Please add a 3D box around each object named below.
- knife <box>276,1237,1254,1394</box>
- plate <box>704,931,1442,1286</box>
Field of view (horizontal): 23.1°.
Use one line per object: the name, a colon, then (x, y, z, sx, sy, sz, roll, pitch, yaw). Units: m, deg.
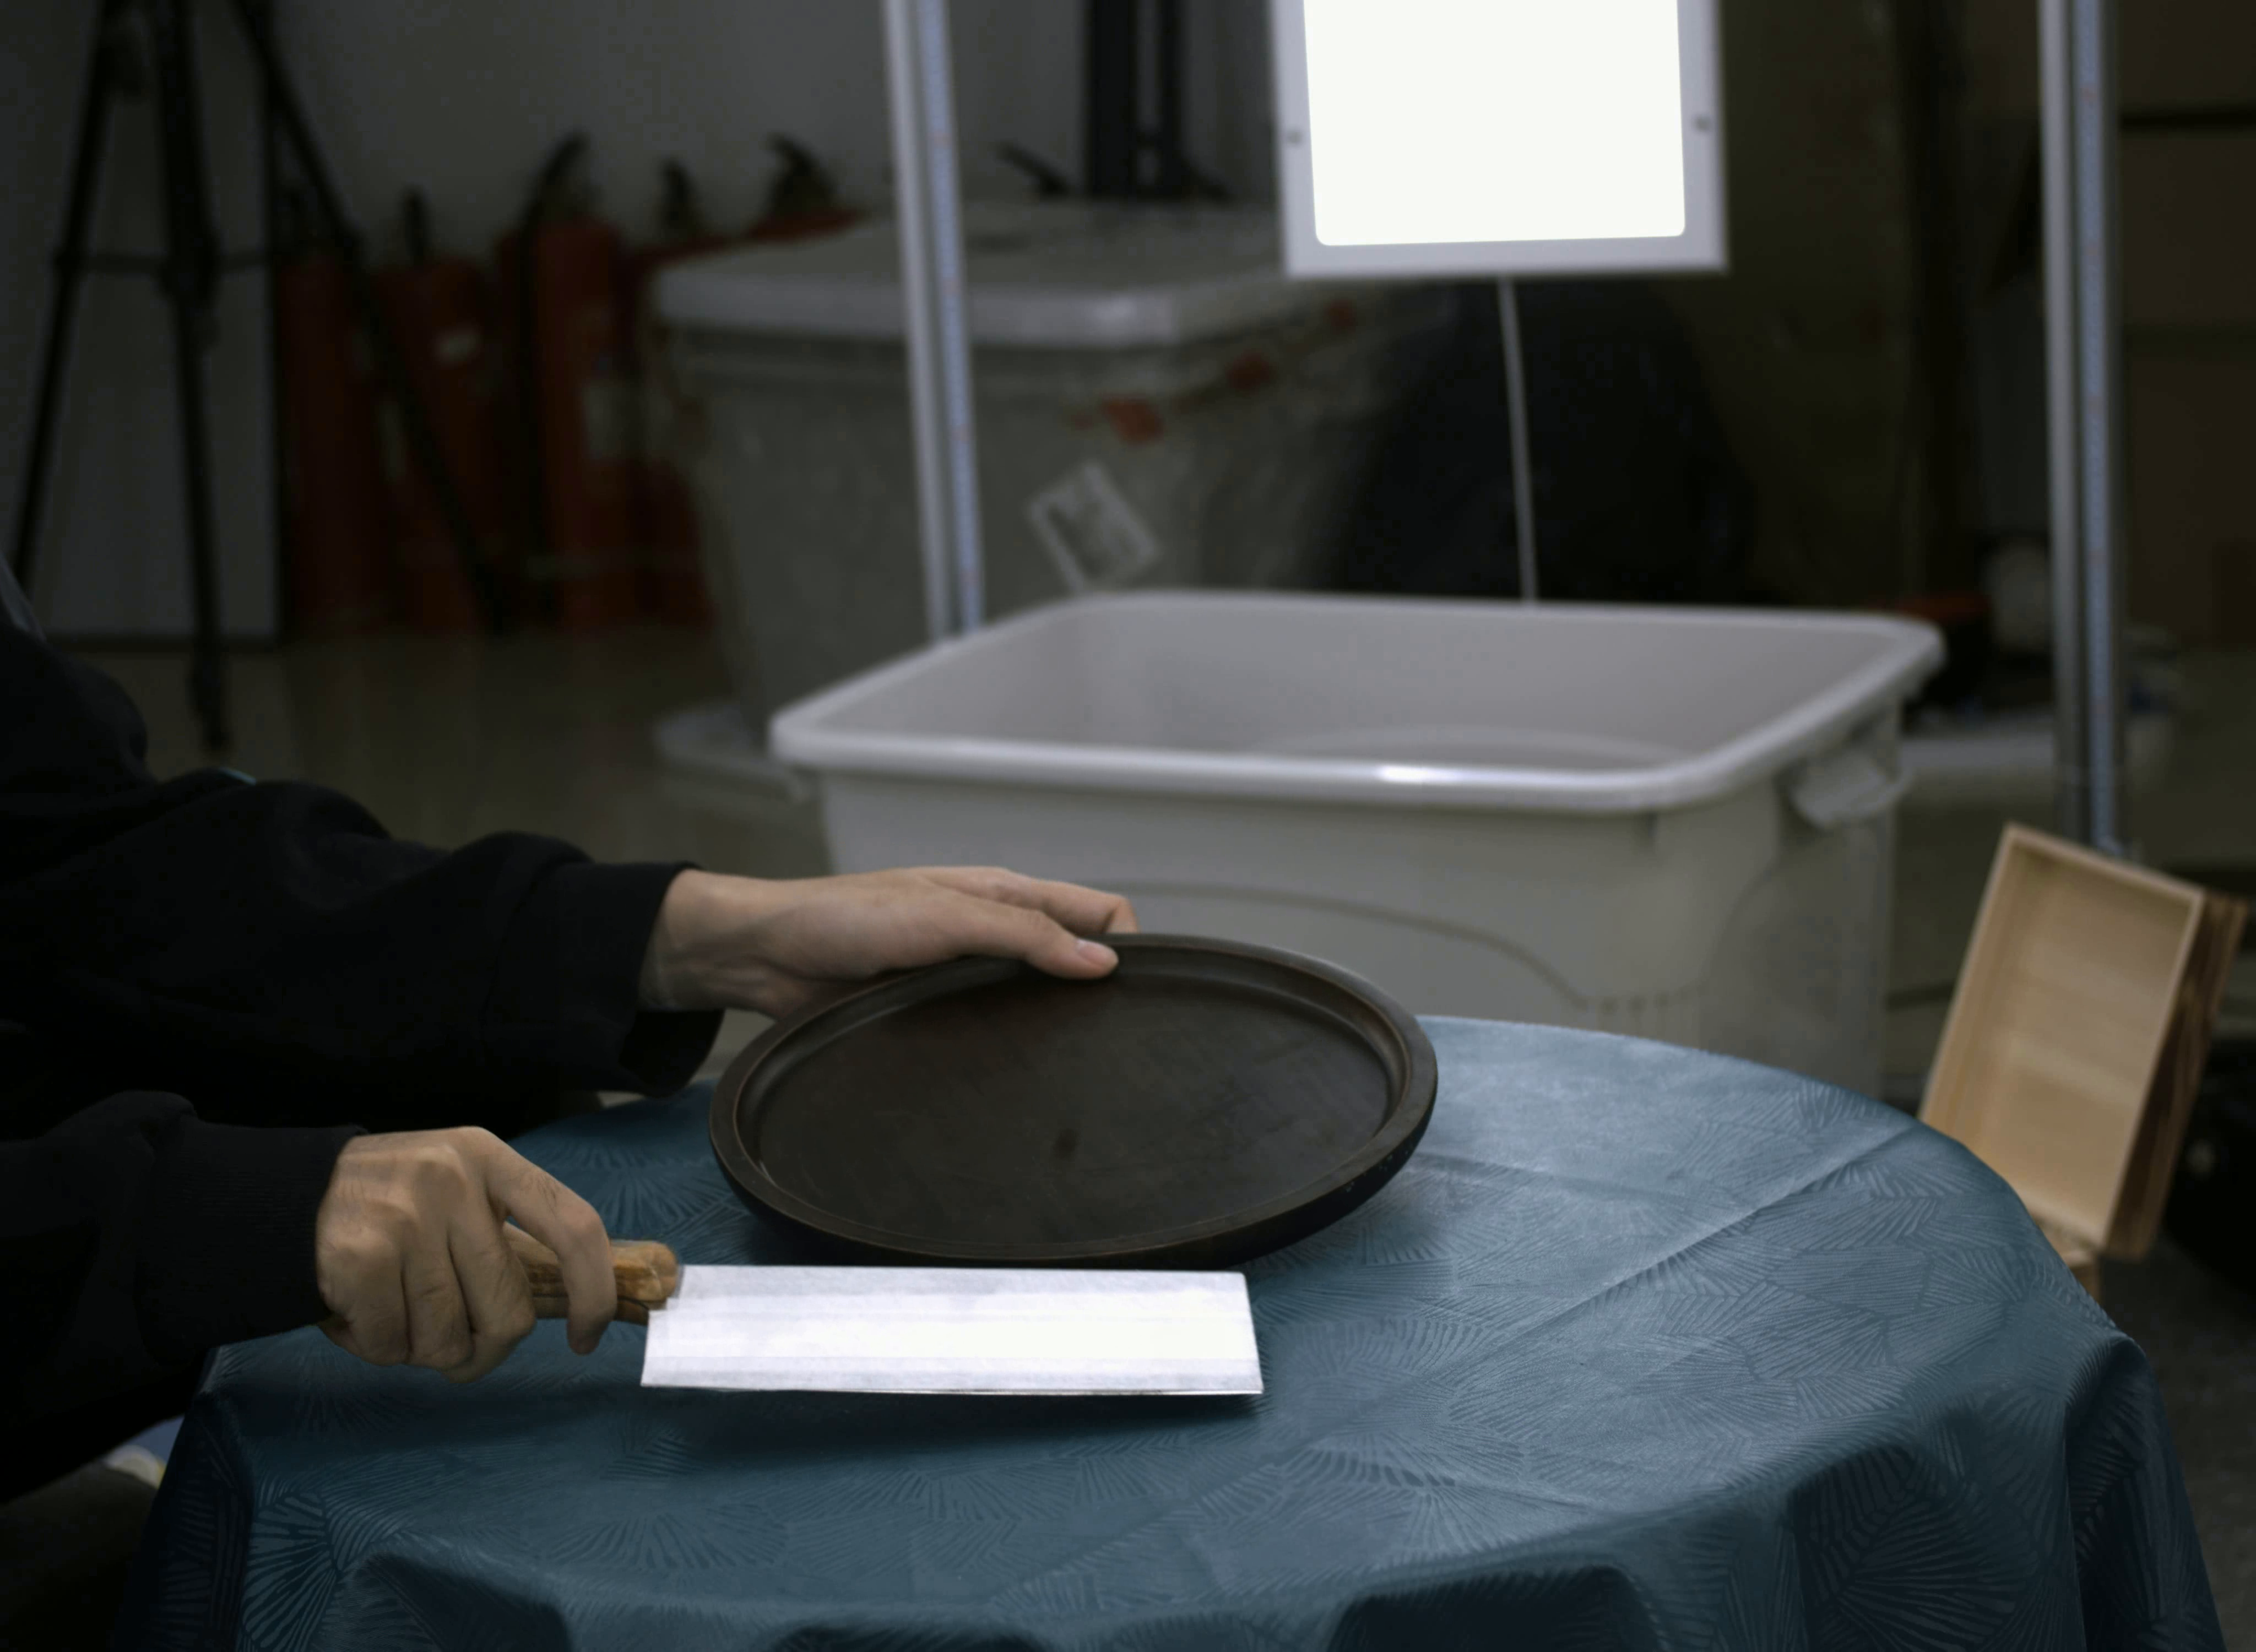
knife: (-0.114, 0.153, 1.711, 0.304, 0.021, 0.093, 1, 20, -1)
plate: (-0.018, 0.097, 1.894, 0.254, 0.029, 0.254, -4, 25, 1)
